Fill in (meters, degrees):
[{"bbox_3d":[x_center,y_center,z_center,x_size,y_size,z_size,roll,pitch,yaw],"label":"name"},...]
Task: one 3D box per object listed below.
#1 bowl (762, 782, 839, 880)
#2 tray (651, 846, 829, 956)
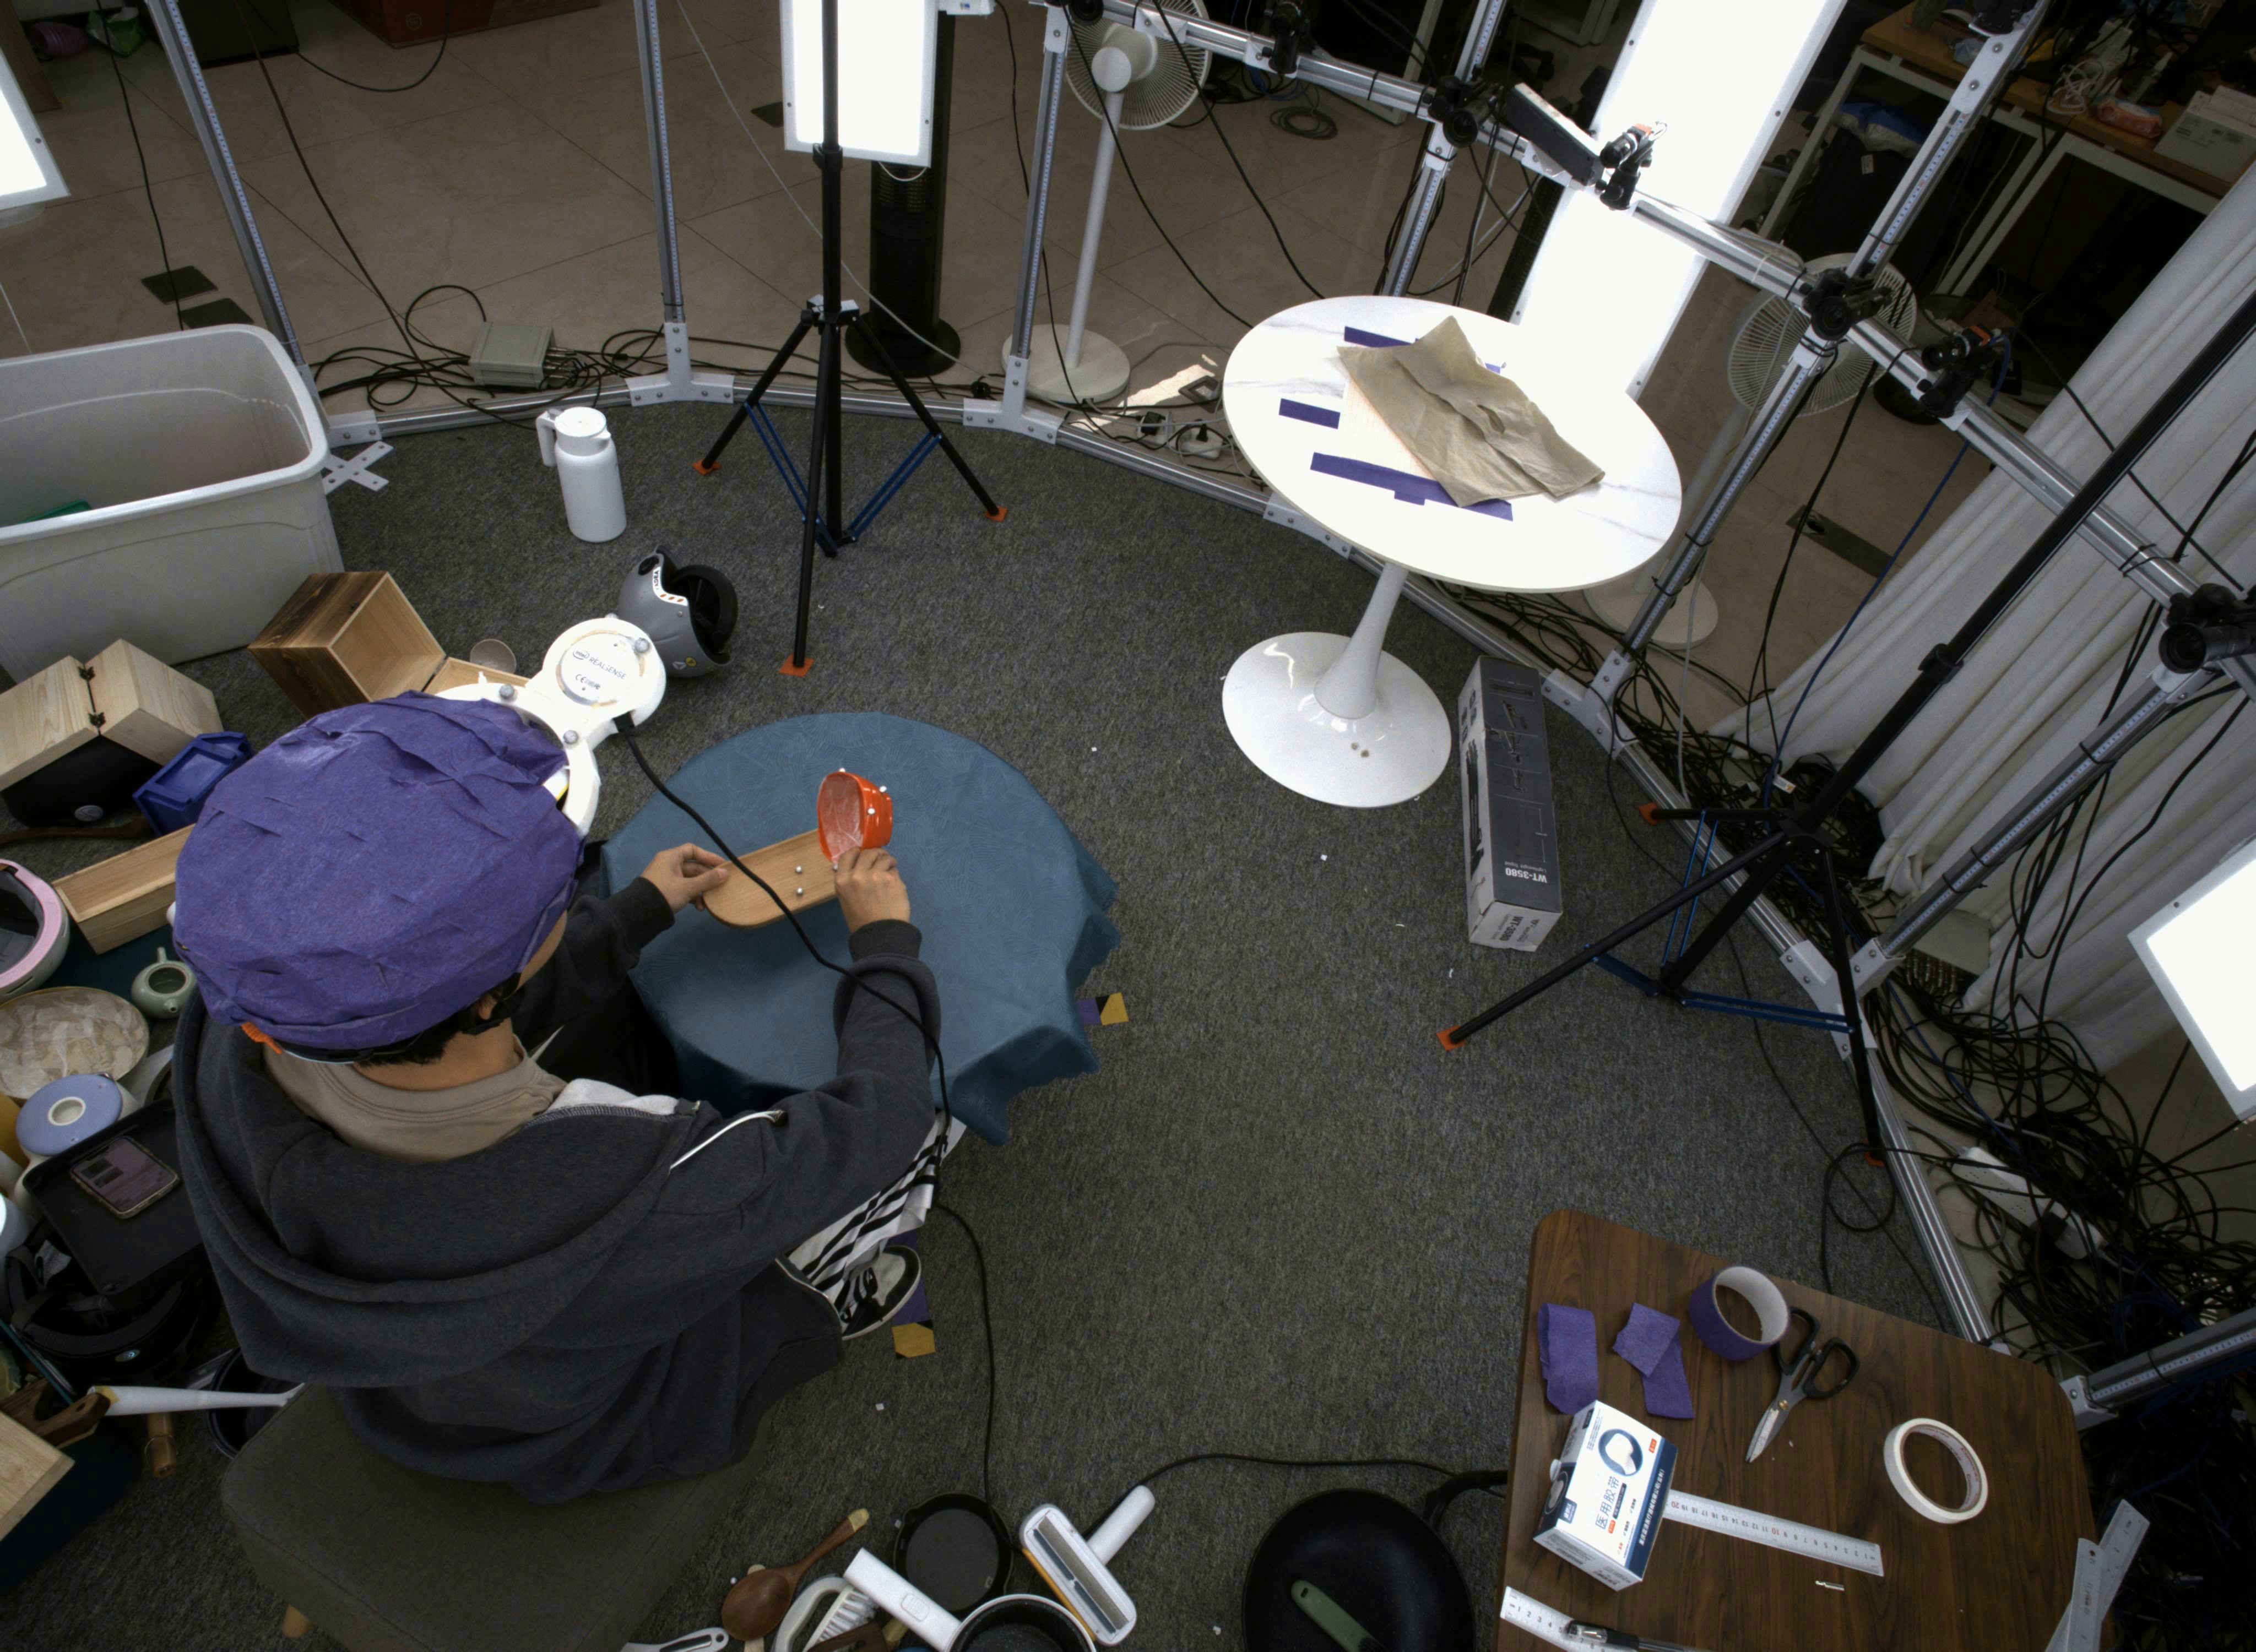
[{"bbox_3d":[-0.373,0.004,1.494,0.052,0.120,0.116,-5,50,-47],"label":"bowl"},{"bbox_3d":[-0.468,0.085,1.567,0.232,0.020,0.099,-29,65,-38],"label":"tray"}]
